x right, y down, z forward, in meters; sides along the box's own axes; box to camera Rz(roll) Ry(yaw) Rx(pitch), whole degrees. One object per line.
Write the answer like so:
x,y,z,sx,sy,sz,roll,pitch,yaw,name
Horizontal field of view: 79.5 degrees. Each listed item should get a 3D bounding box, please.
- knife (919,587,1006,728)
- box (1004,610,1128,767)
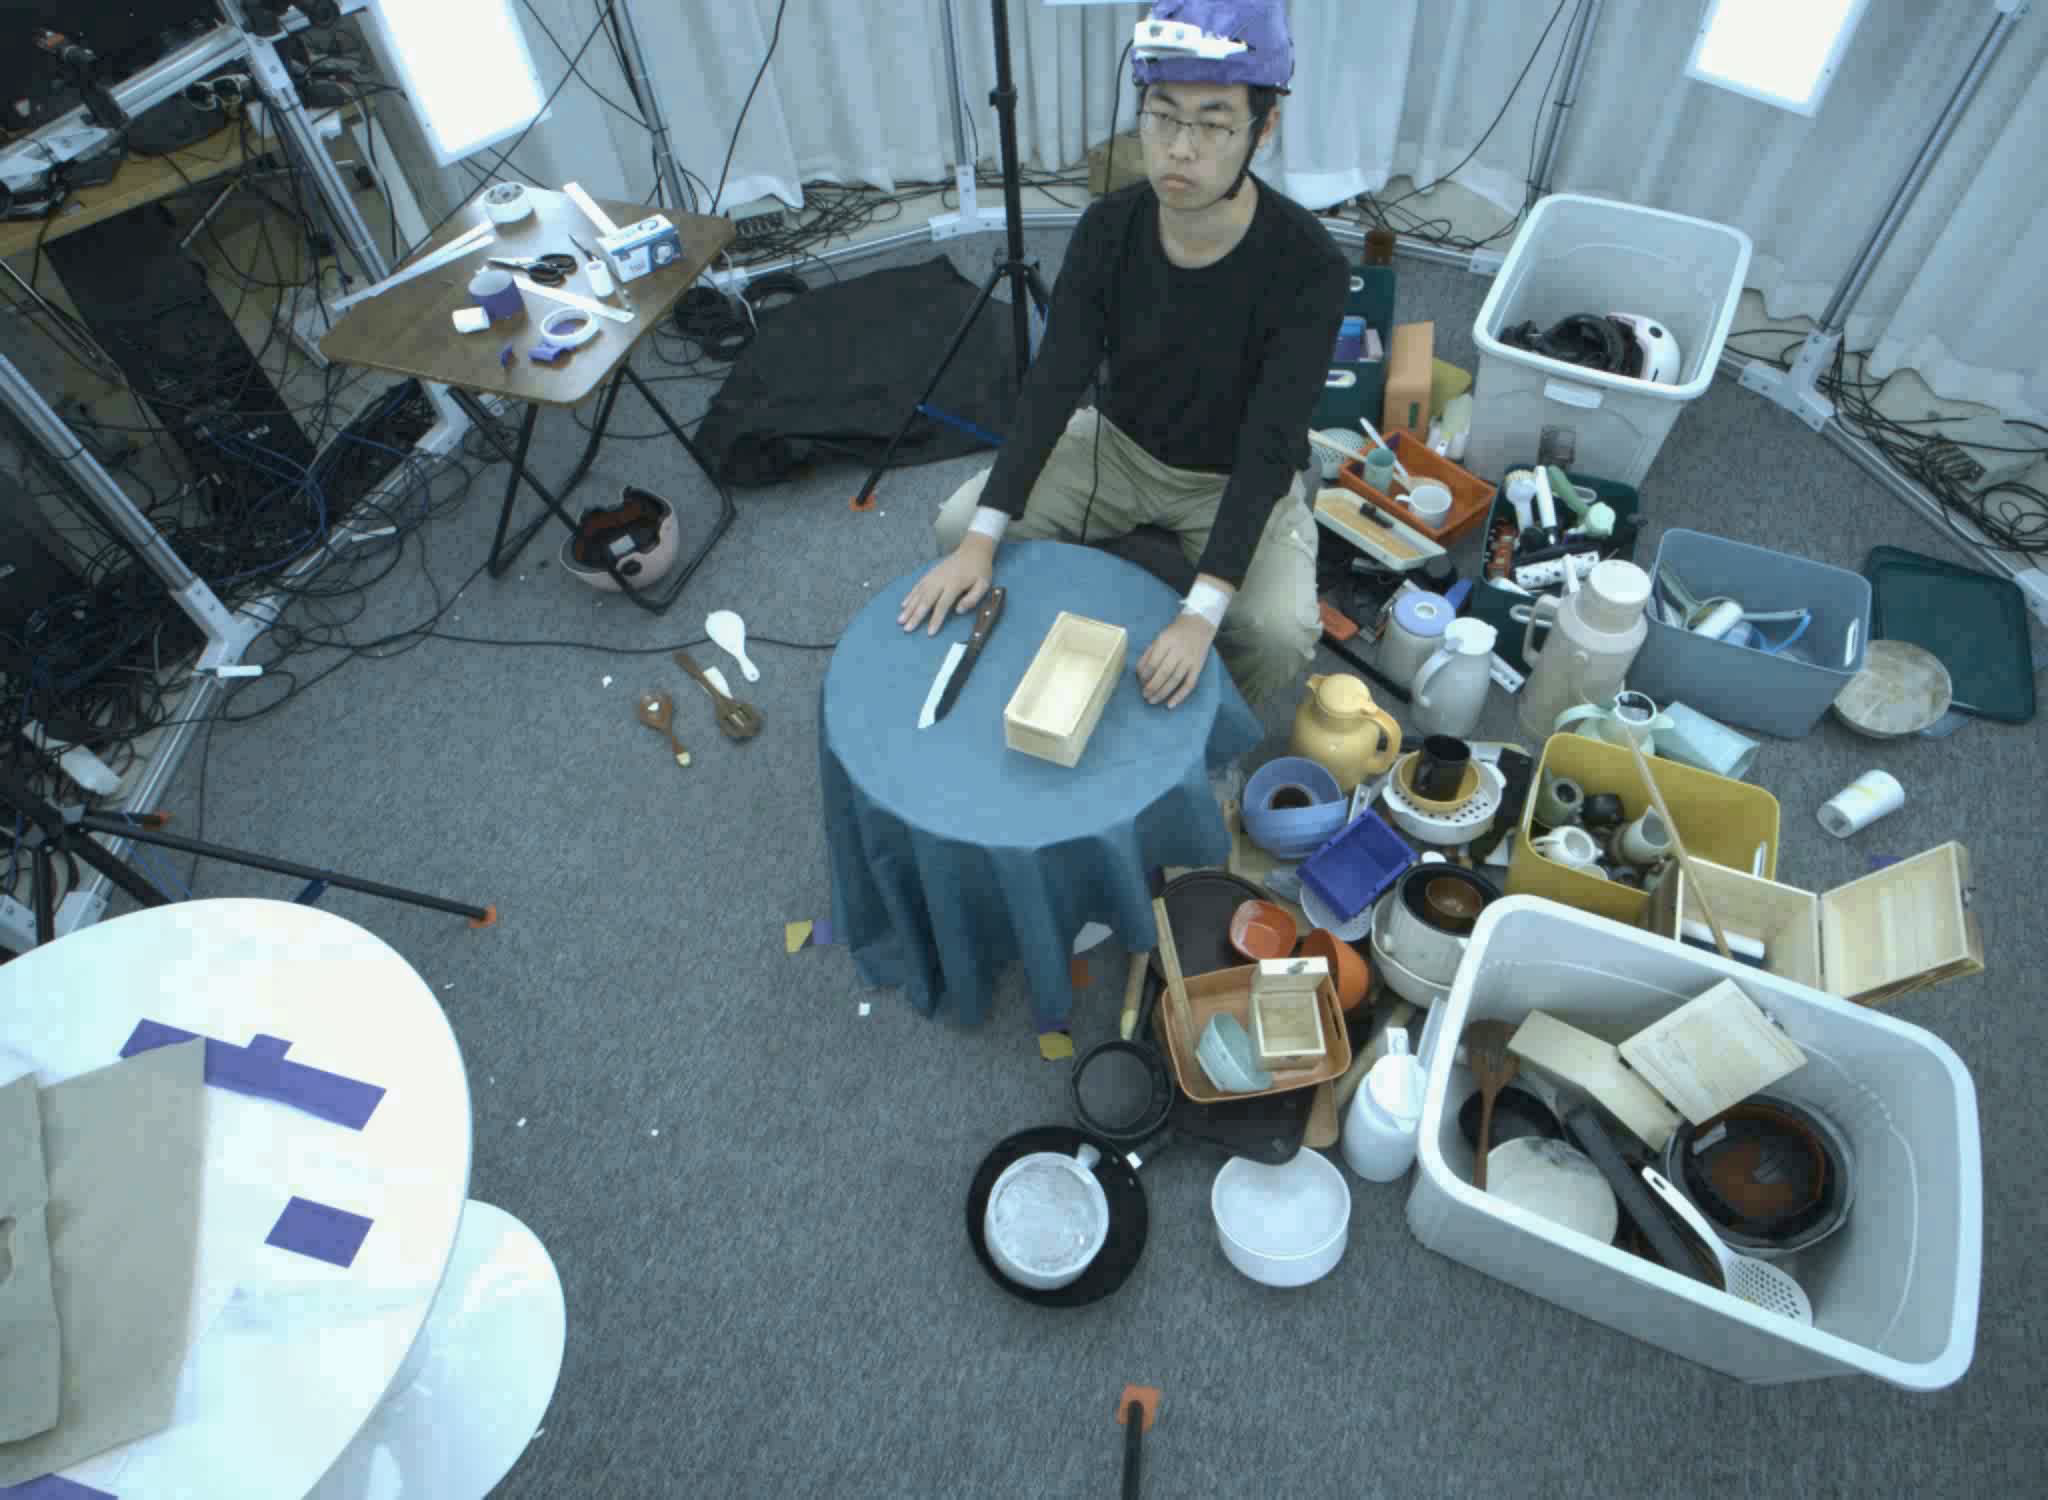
-0.093,-0.144,1.884,0.049,0.020,0.289,16,59,19,knife
0.064,-0.092,1.802,0.106,0.081,0.211,19,58,15,box
